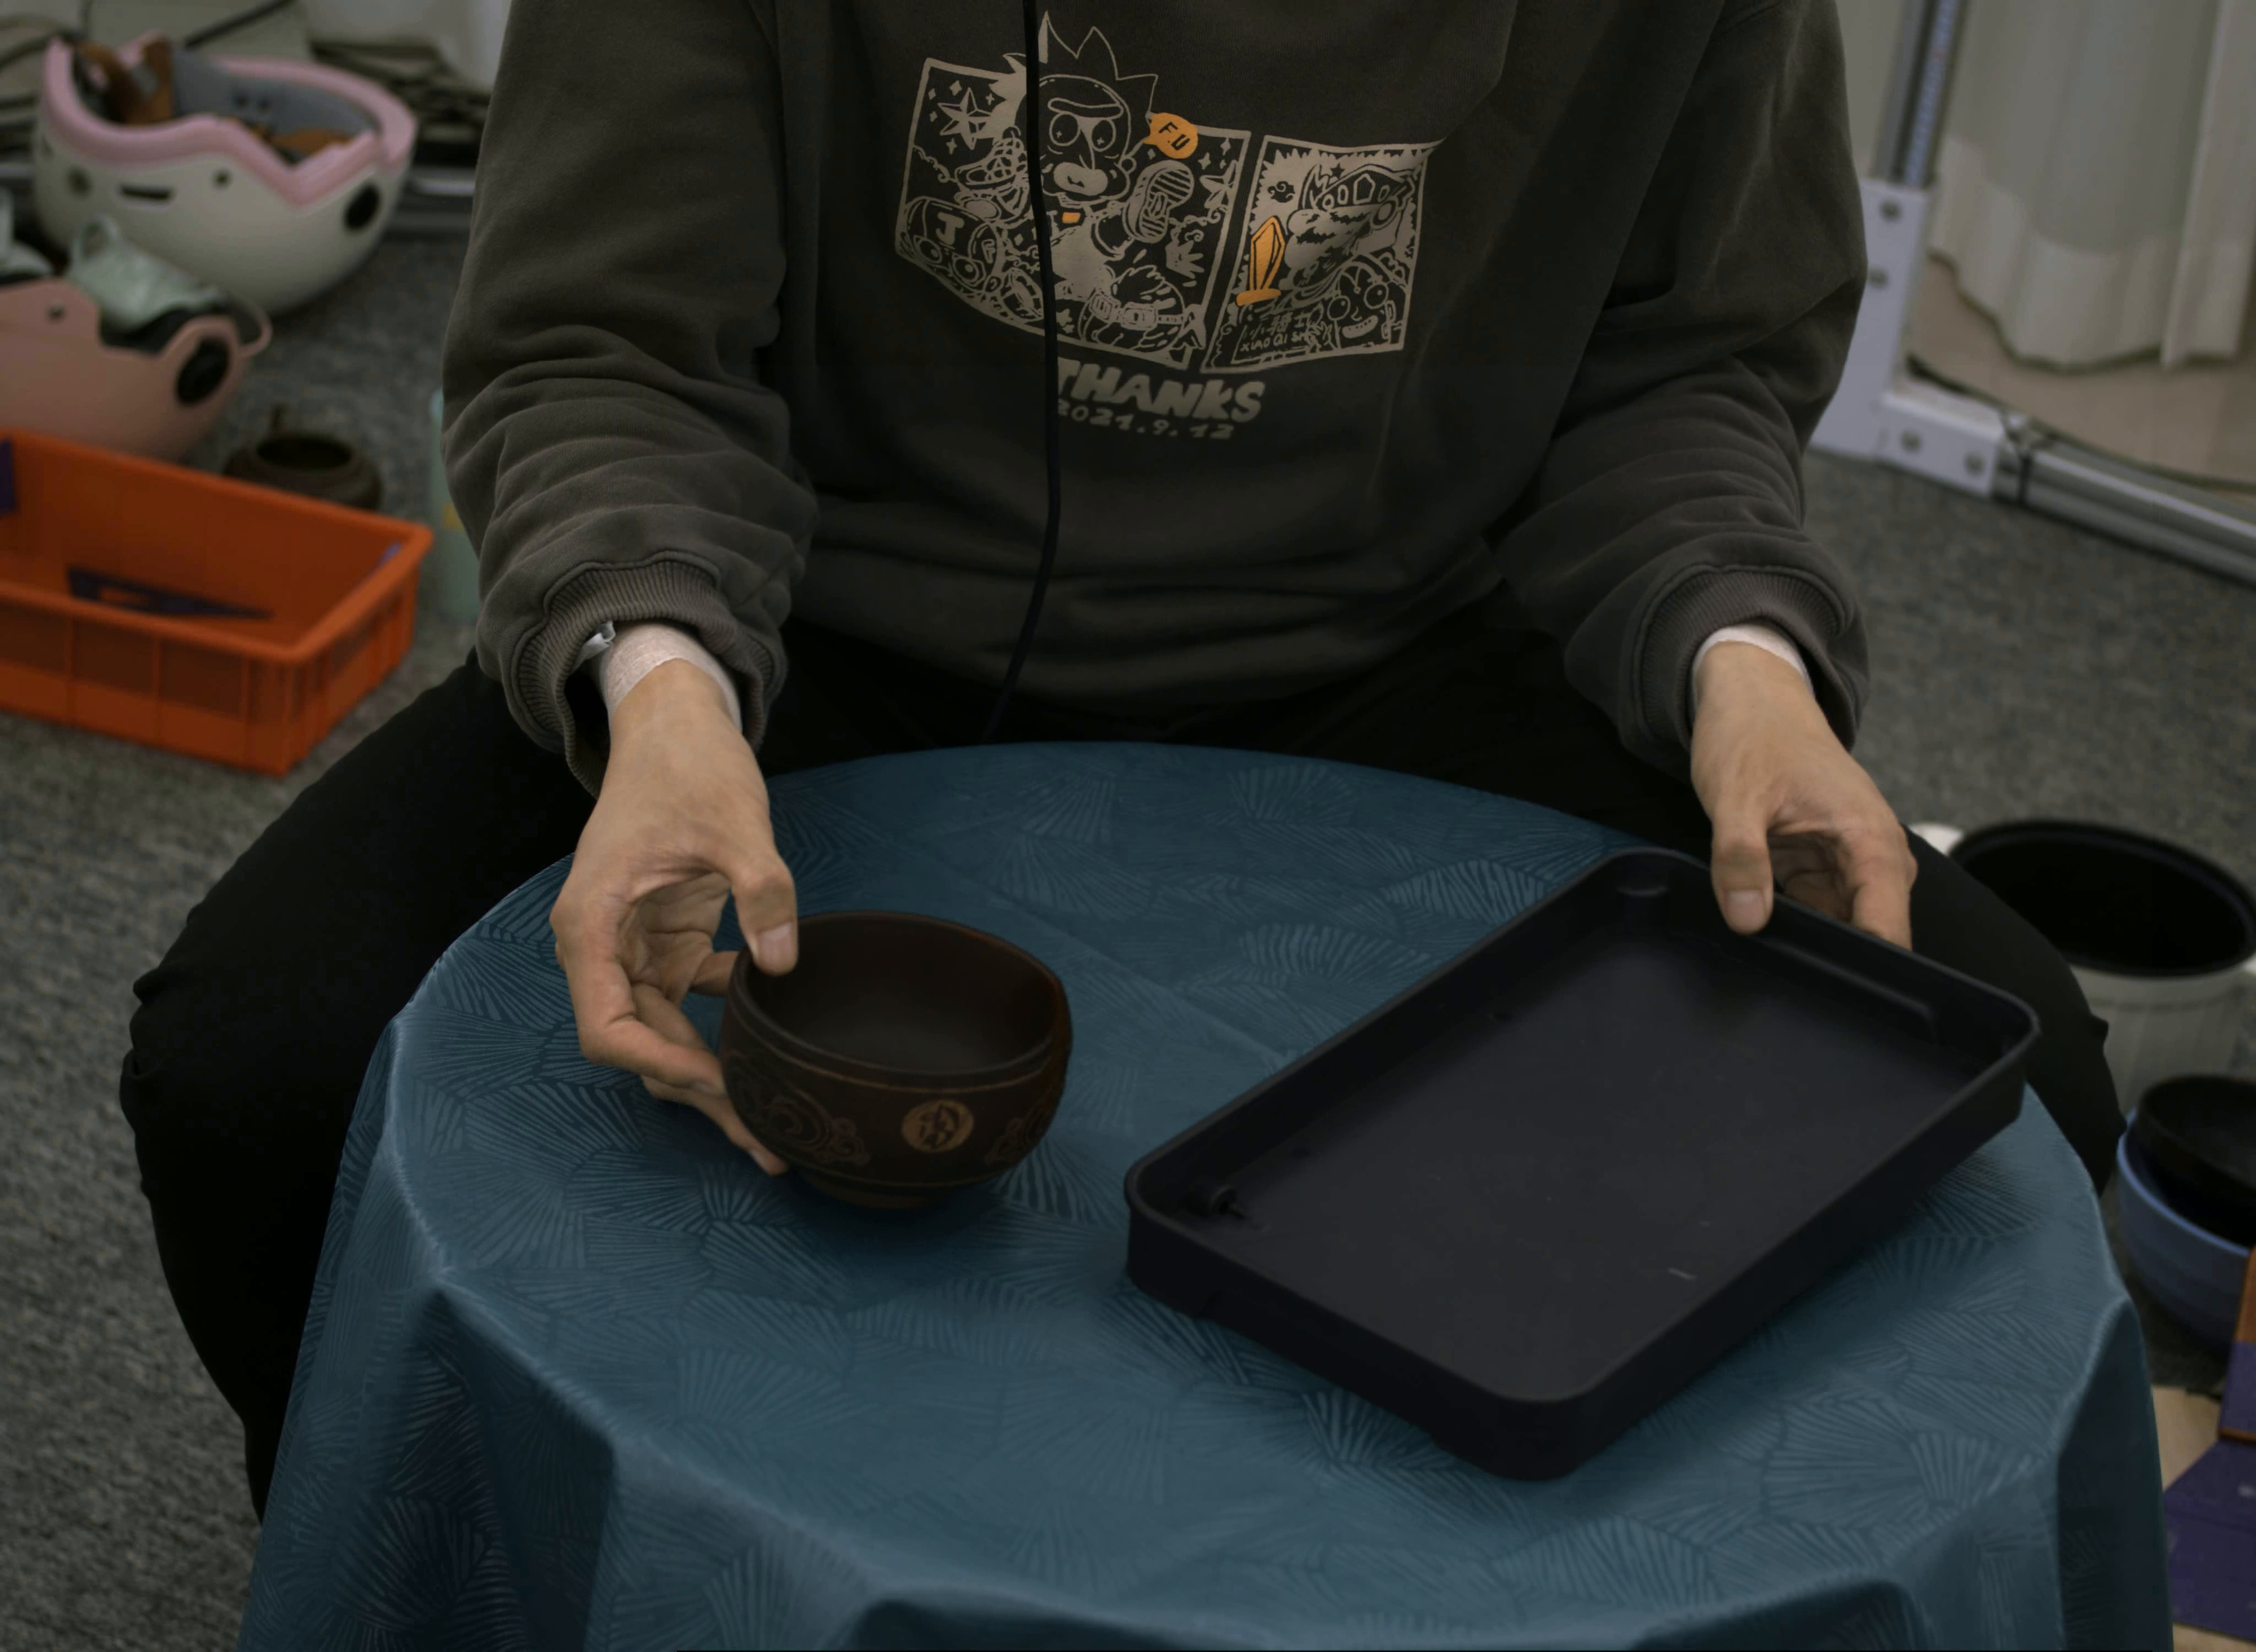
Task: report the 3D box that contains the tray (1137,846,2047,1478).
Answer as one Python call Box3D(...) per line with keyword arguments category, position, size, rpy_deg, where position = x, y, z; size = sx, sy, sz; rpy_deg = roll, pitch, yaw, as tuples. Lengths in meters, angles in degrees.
Box3D(category="tray", position=(0.161, 0.107, 1.810), size=(0.185, 0.037, 0.317), rpy_deg=(23, 36, 31))

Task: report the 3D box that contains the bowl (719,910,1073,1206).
Box3D(category="bowl", position=(-0.080, 0.084, 1.777), size=(0.117, 0.070, 0.118), rpy_deg=(7, 23, -3))
